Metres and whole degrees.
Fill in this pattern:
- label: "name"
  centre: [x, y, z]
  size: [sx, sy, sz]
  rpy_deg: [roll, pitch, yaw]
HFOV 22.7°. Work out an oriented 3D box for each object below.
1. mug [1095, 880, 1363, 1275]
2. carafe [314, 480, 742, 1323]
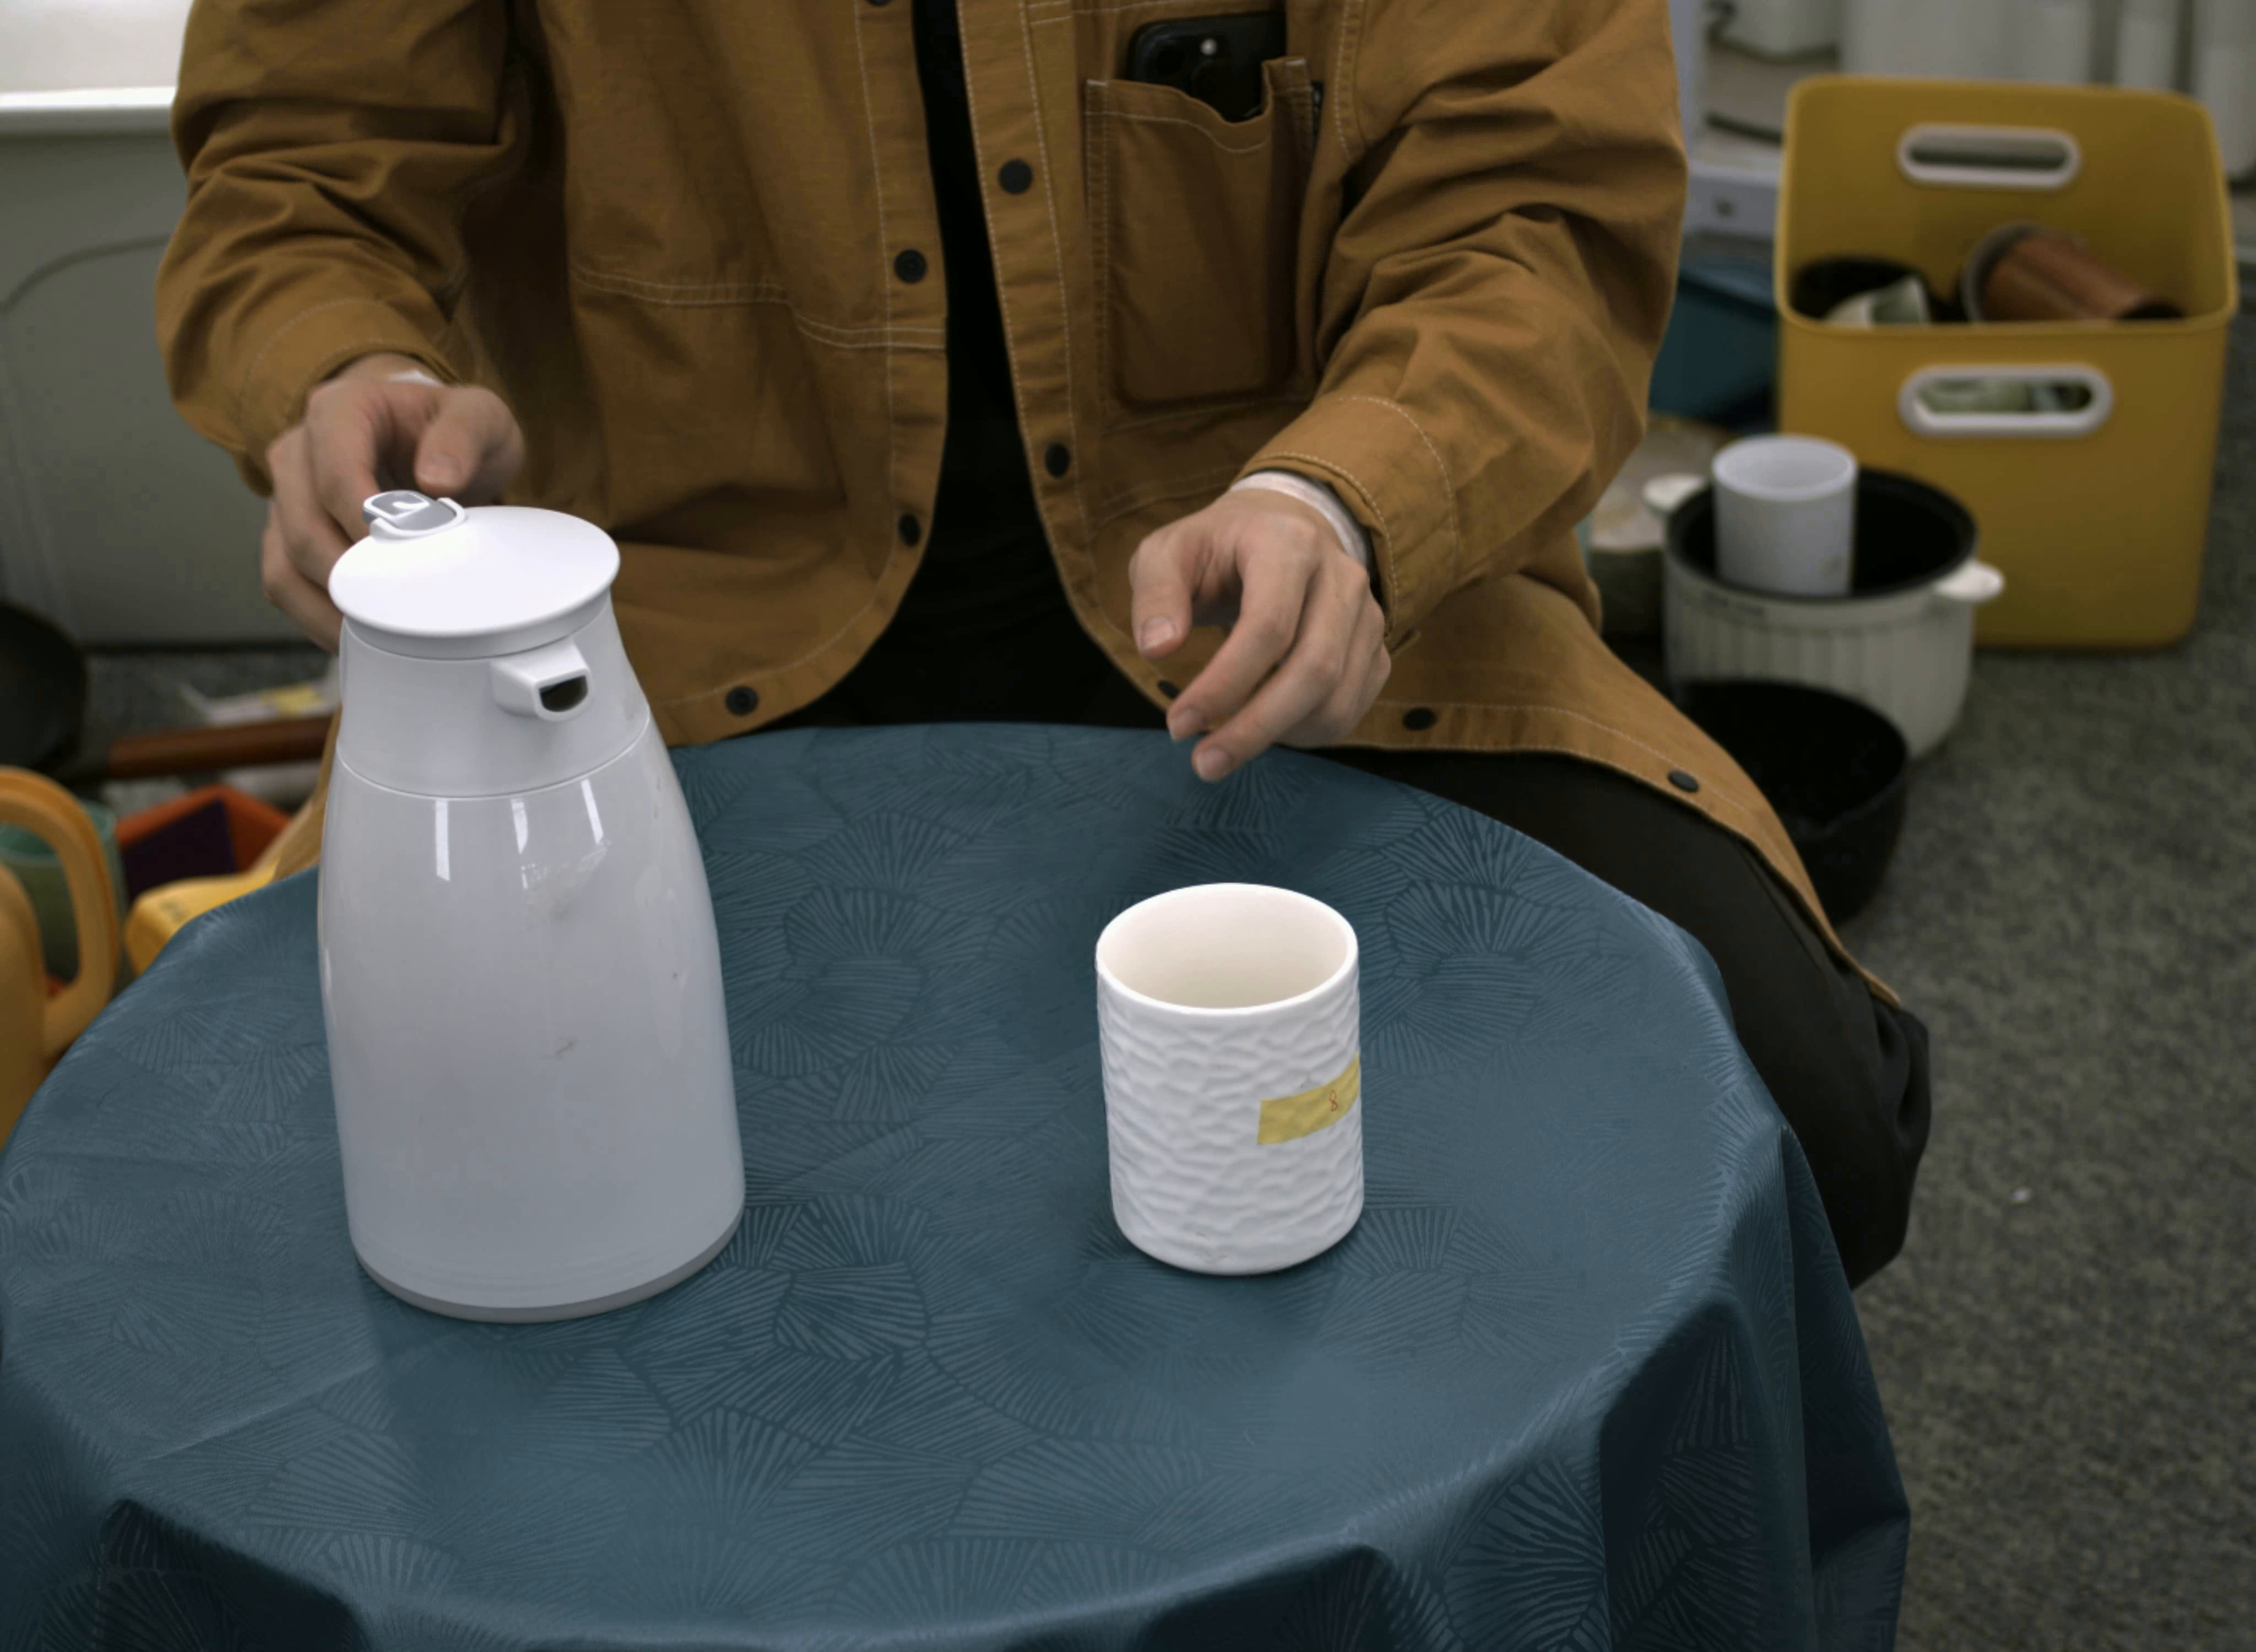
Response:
- label: "mug"
  centre: [0.027, 0.076, 1.834]
  size: [0.085, 0.101, 0.119]
  rpy_deg: [-13, 28, -21]
- label: "carafe"
  centre: [-0.210, 0.014, 1.821]
  size: [0.133, 0.246, 0.168]
  rpy_deg: [-19, 30, -27]
